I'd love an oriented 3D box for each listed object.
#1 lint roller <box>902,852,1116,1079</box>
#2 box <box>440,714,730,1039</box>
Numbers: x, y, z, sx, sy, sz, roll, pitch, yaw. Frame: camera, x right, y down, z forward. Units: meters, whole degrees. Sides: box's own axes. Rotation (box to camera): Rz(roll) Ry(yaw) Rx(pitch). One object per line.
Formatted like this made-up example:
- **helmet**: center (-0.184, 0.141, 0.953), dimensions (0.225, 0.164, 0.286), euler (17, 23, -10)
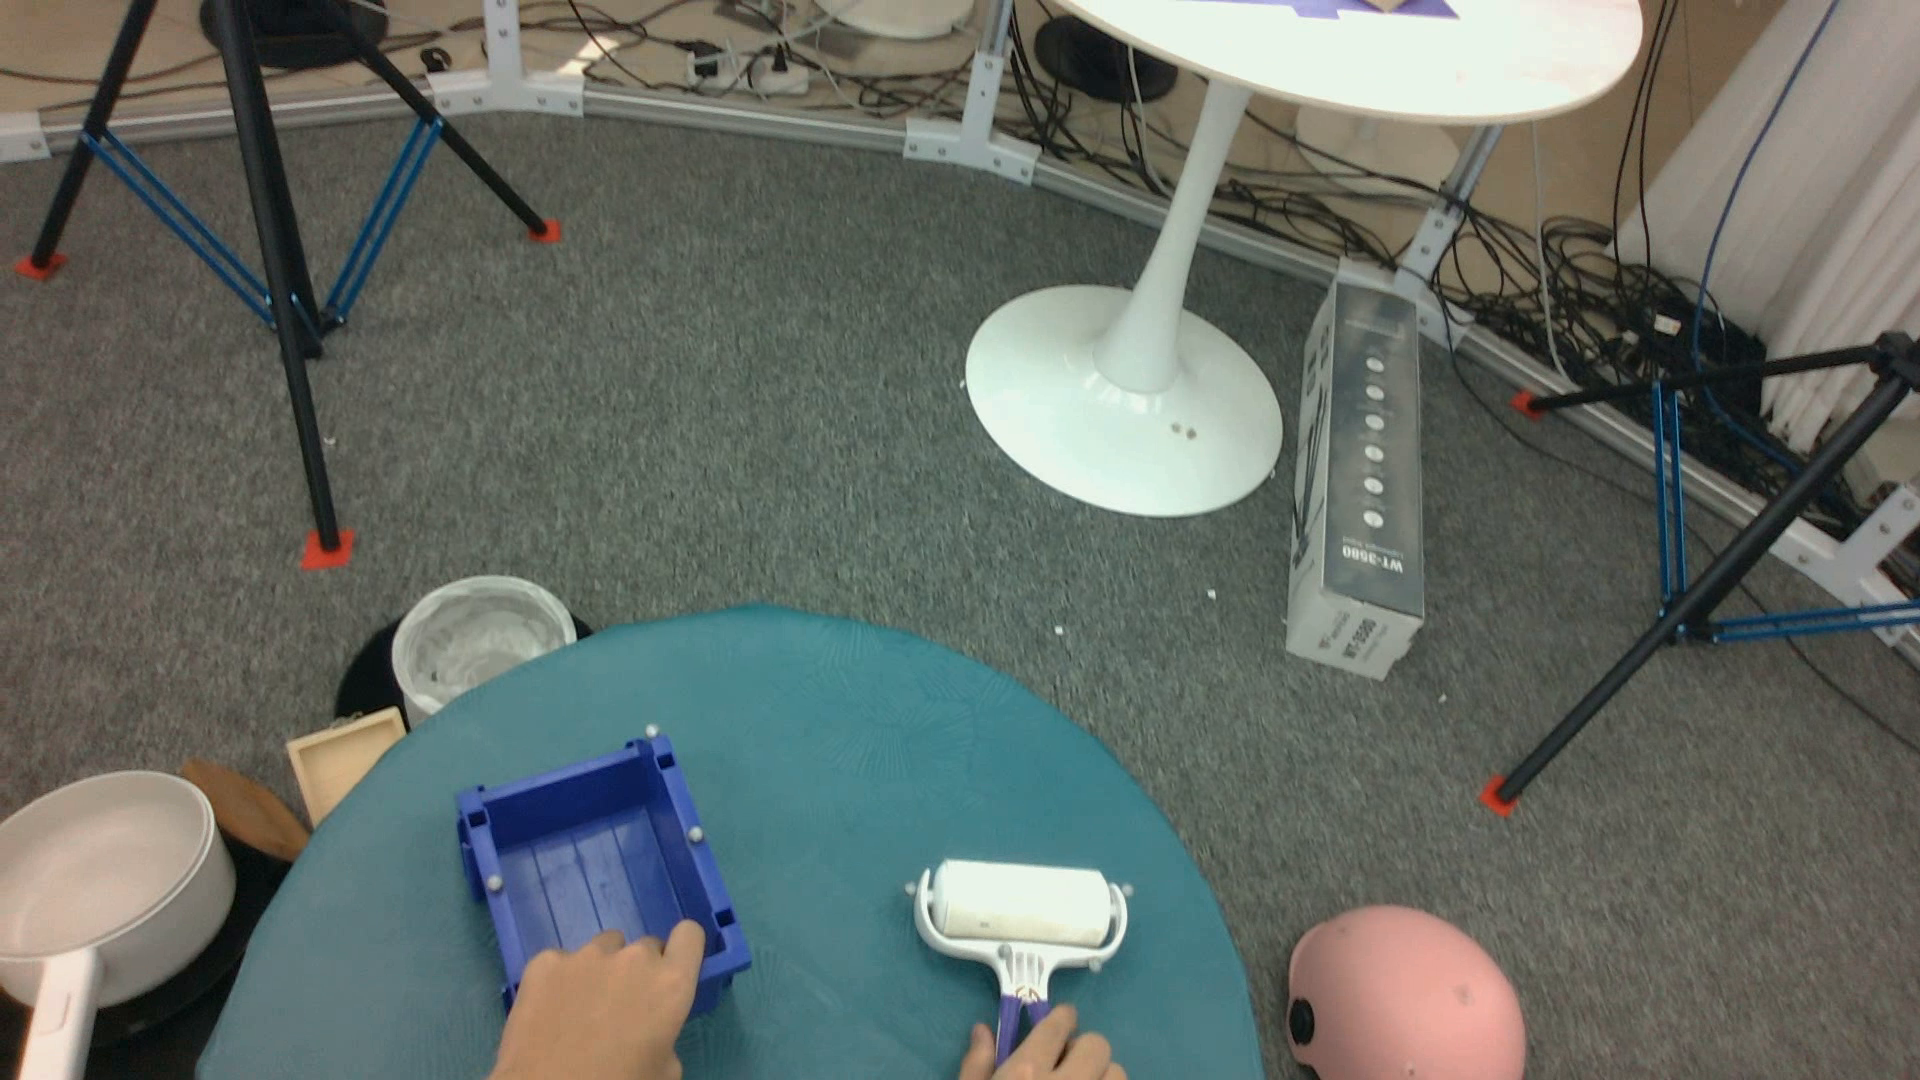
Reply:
- **lint roller**: center (0.031, 0.267, 0.810), dimensions (0.133, 0.050, 0.181), euler (8, 42, -9)
- **box**: center (-0.224, 0.187, 0.799), dimensions (0.125, 0.081, 0.180), euler (-13, 57, -24)
